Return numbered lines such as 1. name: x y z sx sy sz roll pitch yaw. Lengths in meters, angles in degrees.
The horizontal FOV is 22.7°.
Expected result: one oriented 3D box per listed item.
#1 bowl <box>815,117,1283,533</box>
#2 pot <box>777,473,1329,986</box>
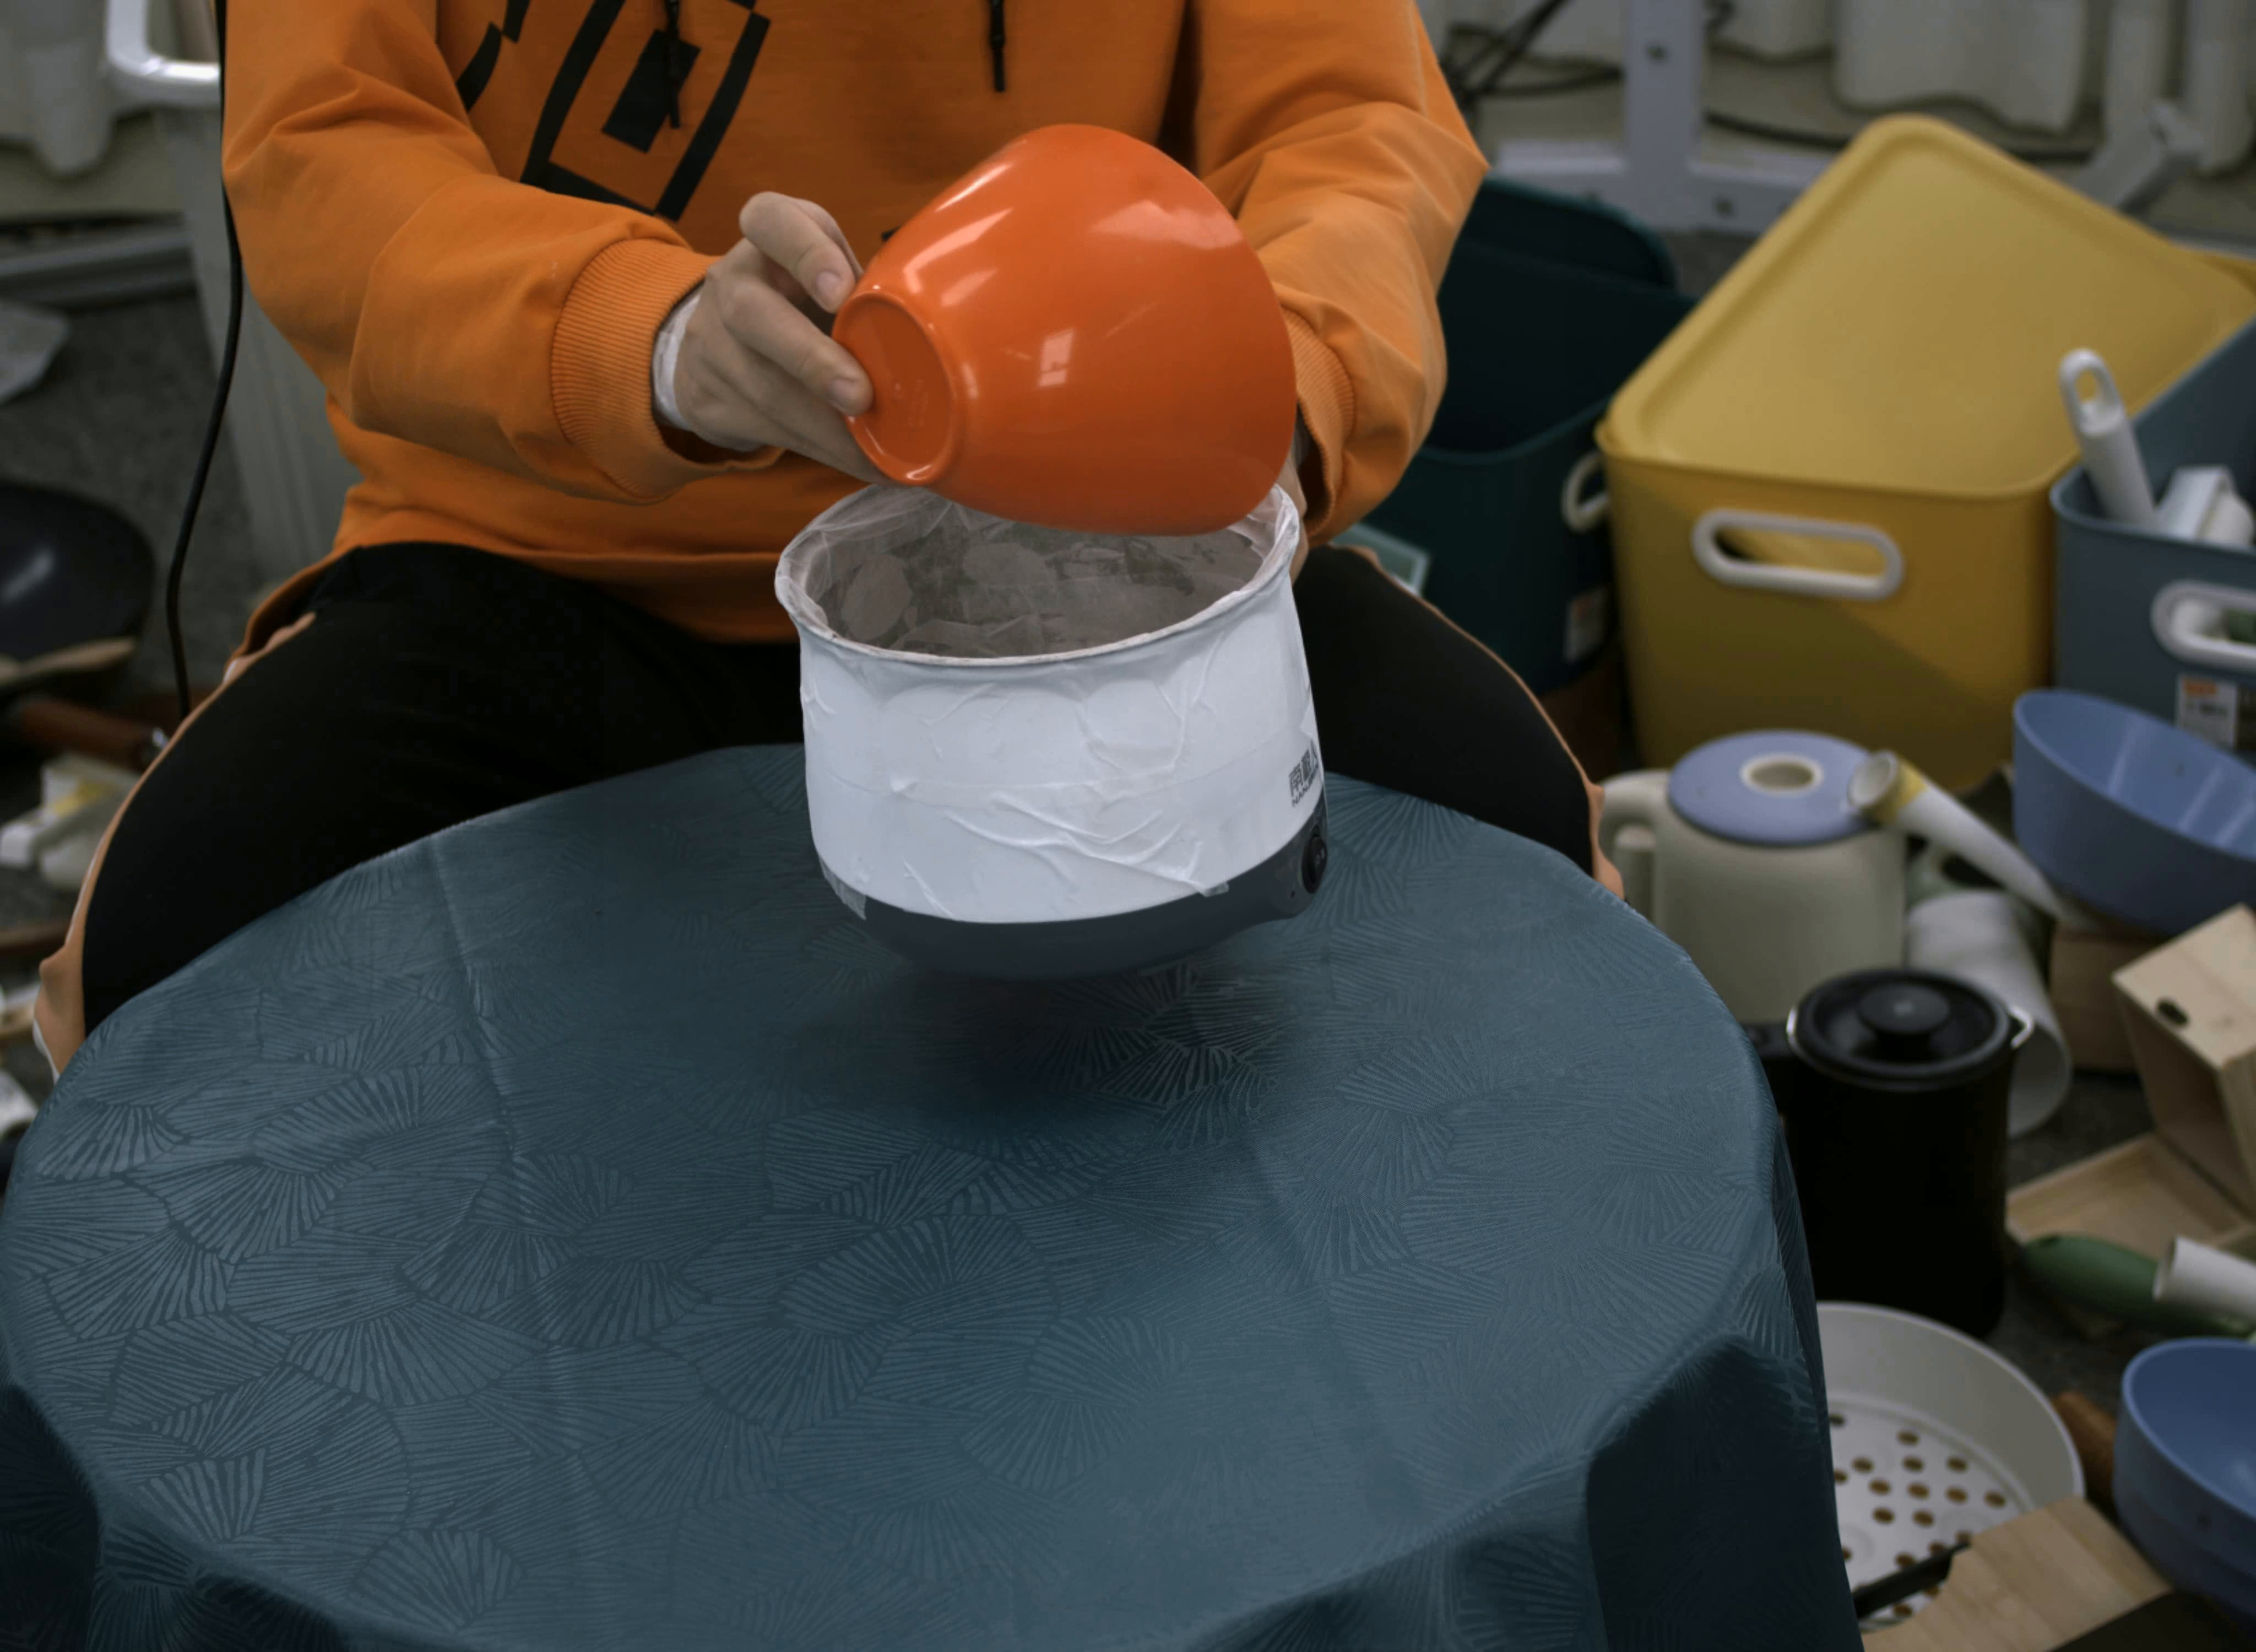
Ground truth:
1. bowl: -0.036 -0.154 1.866 0.106 0.146 0.148 -24 34 -36
2. pot: -0.016 -0.050 1.935 0.177 0.135 0.238 3 28 17
